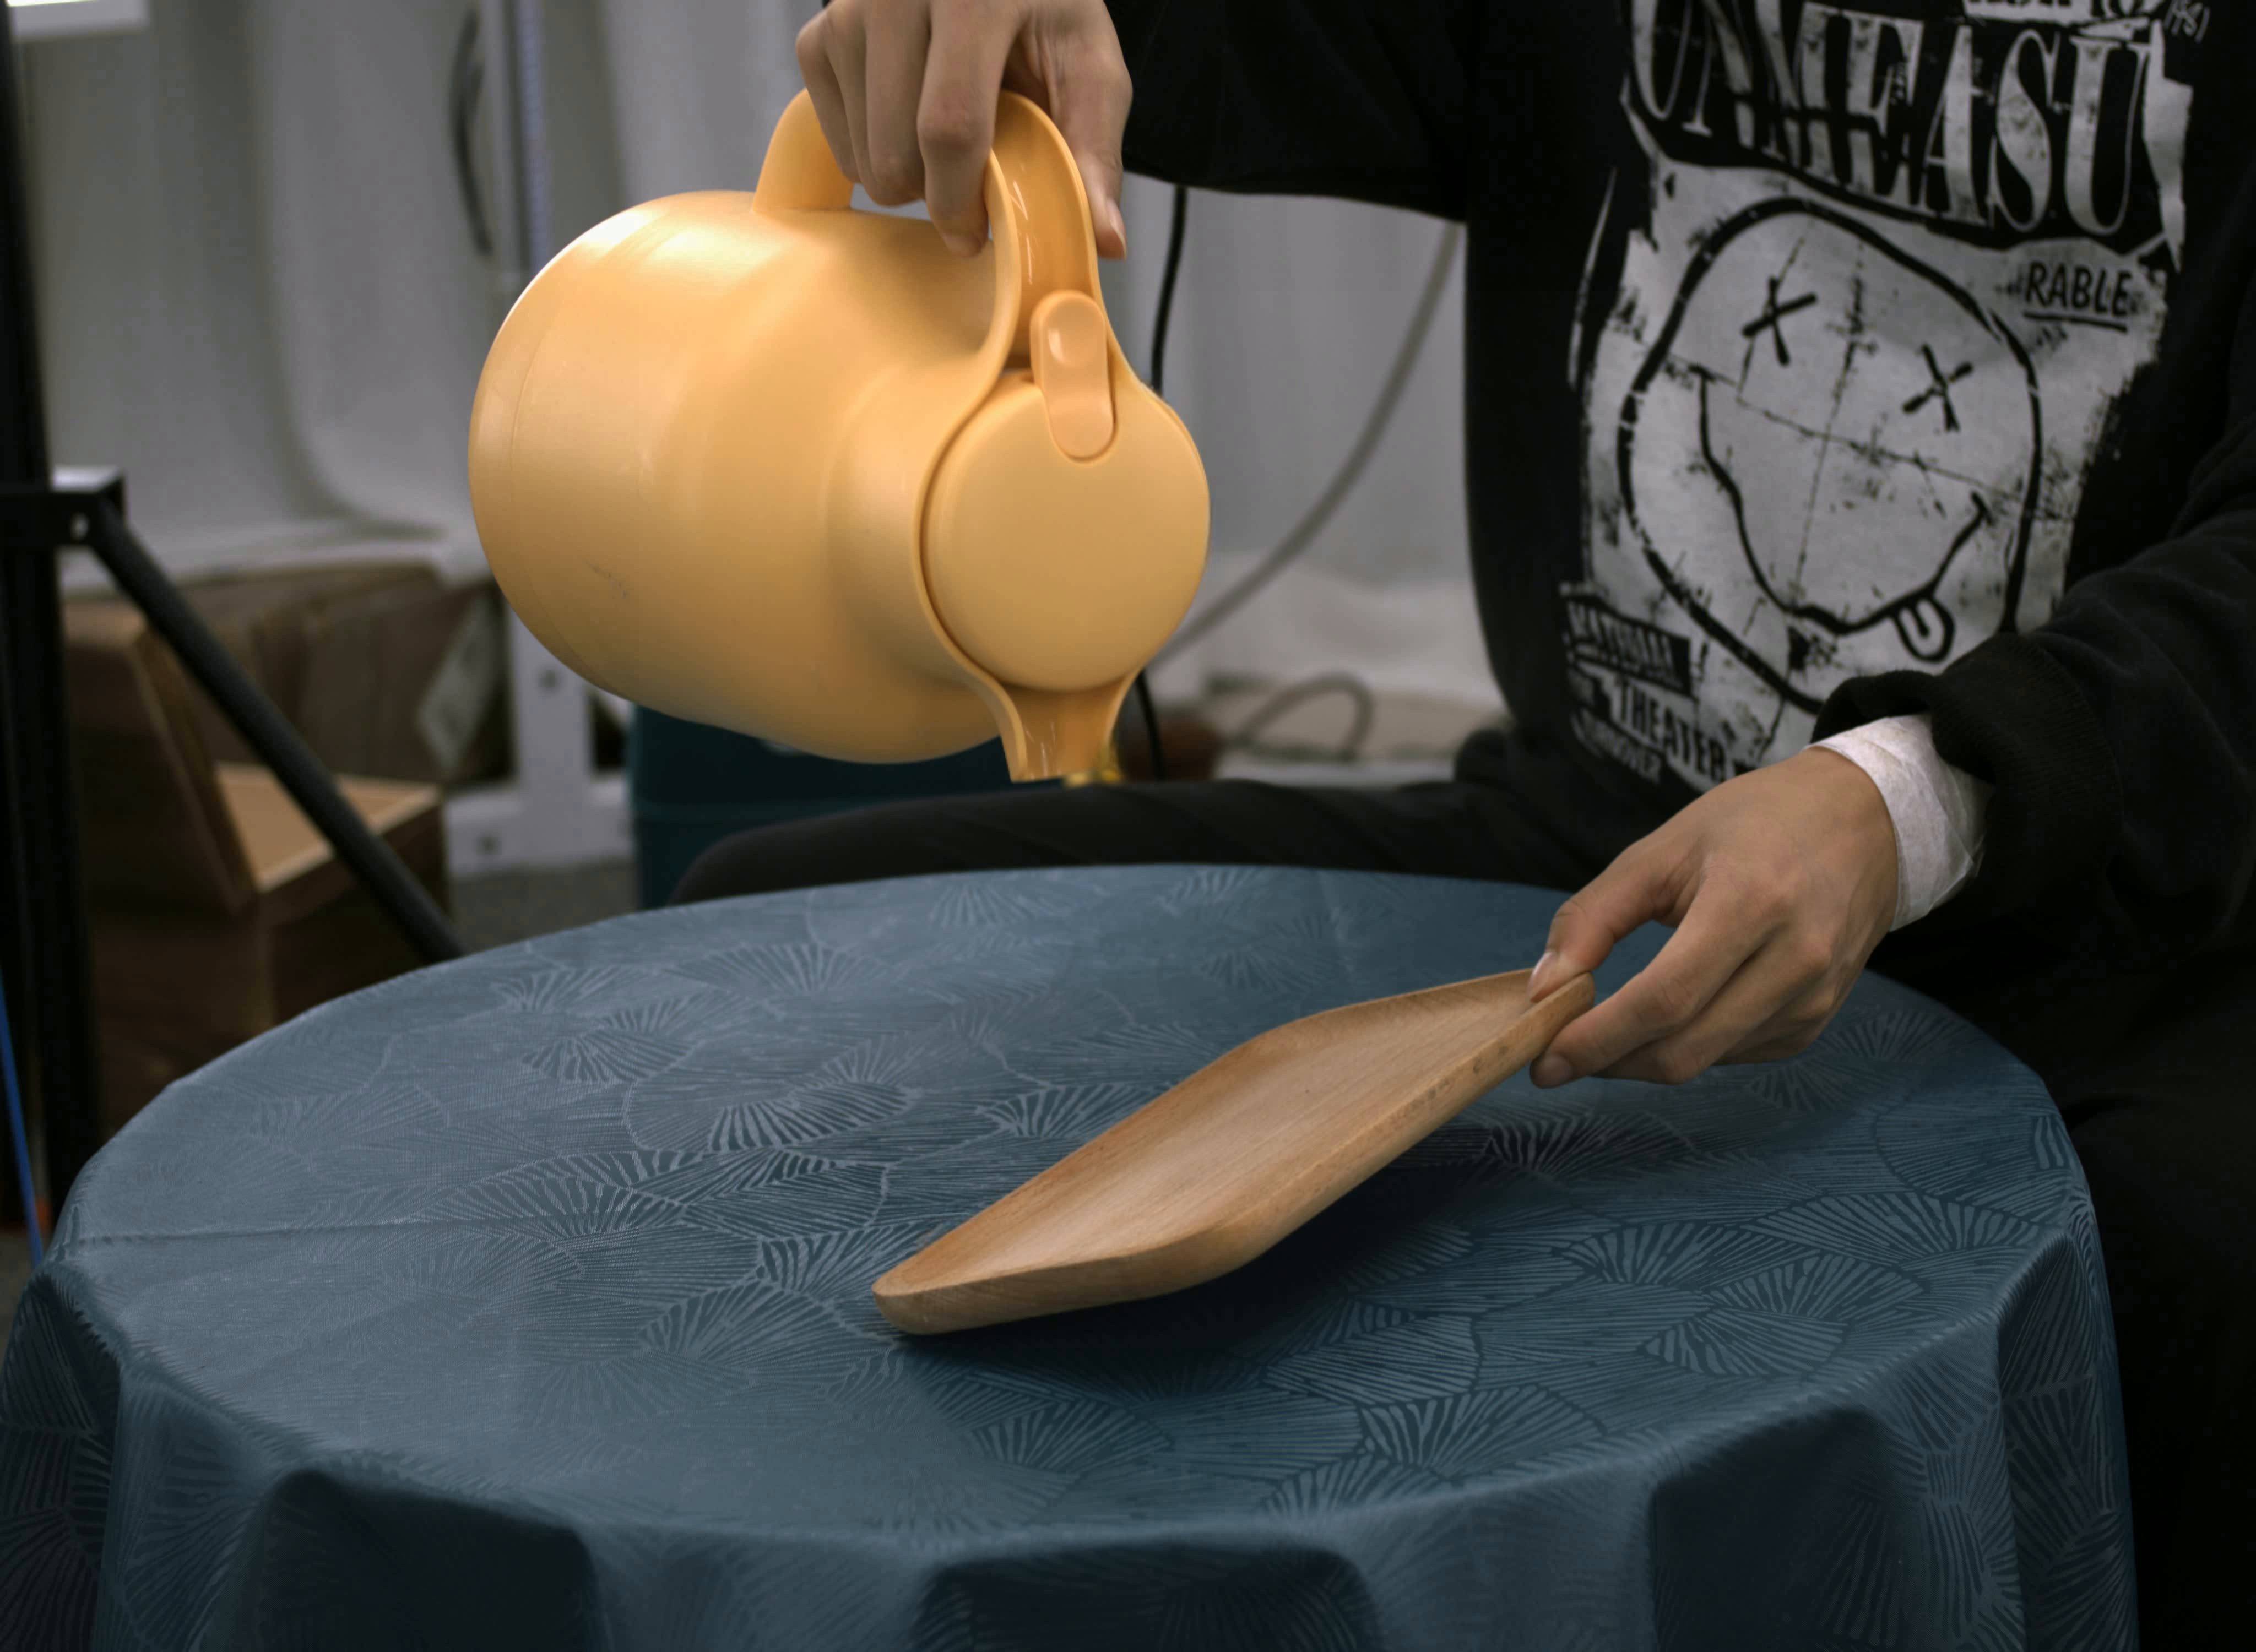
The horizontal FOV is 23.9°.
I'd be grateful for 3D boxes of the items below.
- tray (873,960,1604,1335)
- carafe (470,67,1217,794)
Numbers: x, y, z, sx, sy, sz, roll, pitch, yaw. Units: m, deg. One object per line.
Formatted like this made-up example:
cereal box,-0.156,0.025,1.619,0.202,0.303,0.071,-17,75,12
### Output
tray,0.036,0.090,1.508,0.133,0.023,0.246,-10,10,36
carafe,-0.074,-0.122,1.565,0.159,0.203,0.266,-4,14,-32
